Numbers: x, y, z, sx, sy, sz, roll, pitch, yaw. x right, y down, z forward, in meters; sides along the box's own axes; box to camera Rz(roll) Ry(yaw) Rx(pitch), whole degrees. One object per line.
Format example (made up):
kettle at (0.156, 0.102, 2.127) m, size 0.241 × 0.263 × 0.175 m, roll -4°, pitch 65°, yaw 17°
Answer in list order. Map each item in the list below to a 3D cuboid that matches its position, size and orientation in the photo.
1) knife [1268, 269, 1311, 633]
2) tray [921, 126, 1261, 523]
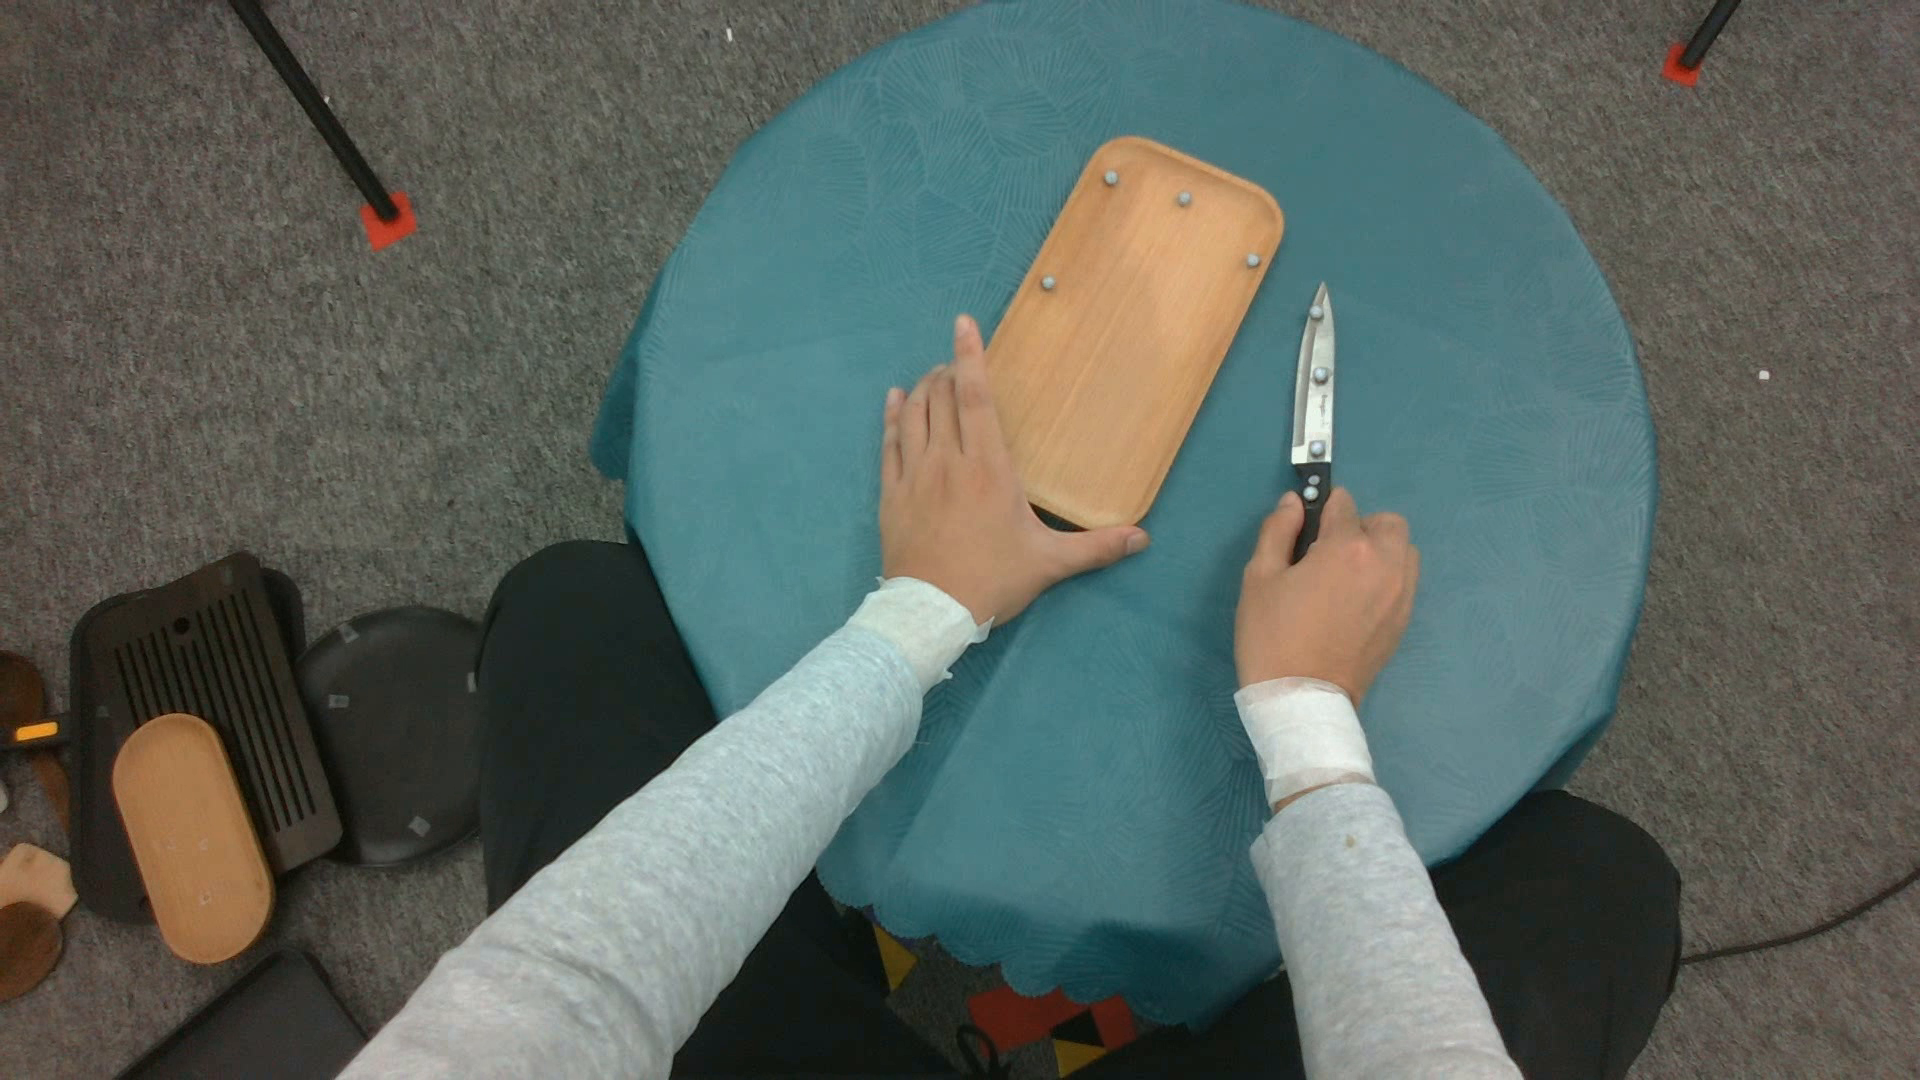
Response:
knife at (0.190, -0.059, 0.791) m, size 0.024 × 0.016 × 0.239 m, roll -2°, pitch 64°, yaw 18°
tray at (0.081, -0.132, 0.818) m, size 0.130 × 0.023 × 0.251 m, roll 26°, pitch 73°, yaw 9°
